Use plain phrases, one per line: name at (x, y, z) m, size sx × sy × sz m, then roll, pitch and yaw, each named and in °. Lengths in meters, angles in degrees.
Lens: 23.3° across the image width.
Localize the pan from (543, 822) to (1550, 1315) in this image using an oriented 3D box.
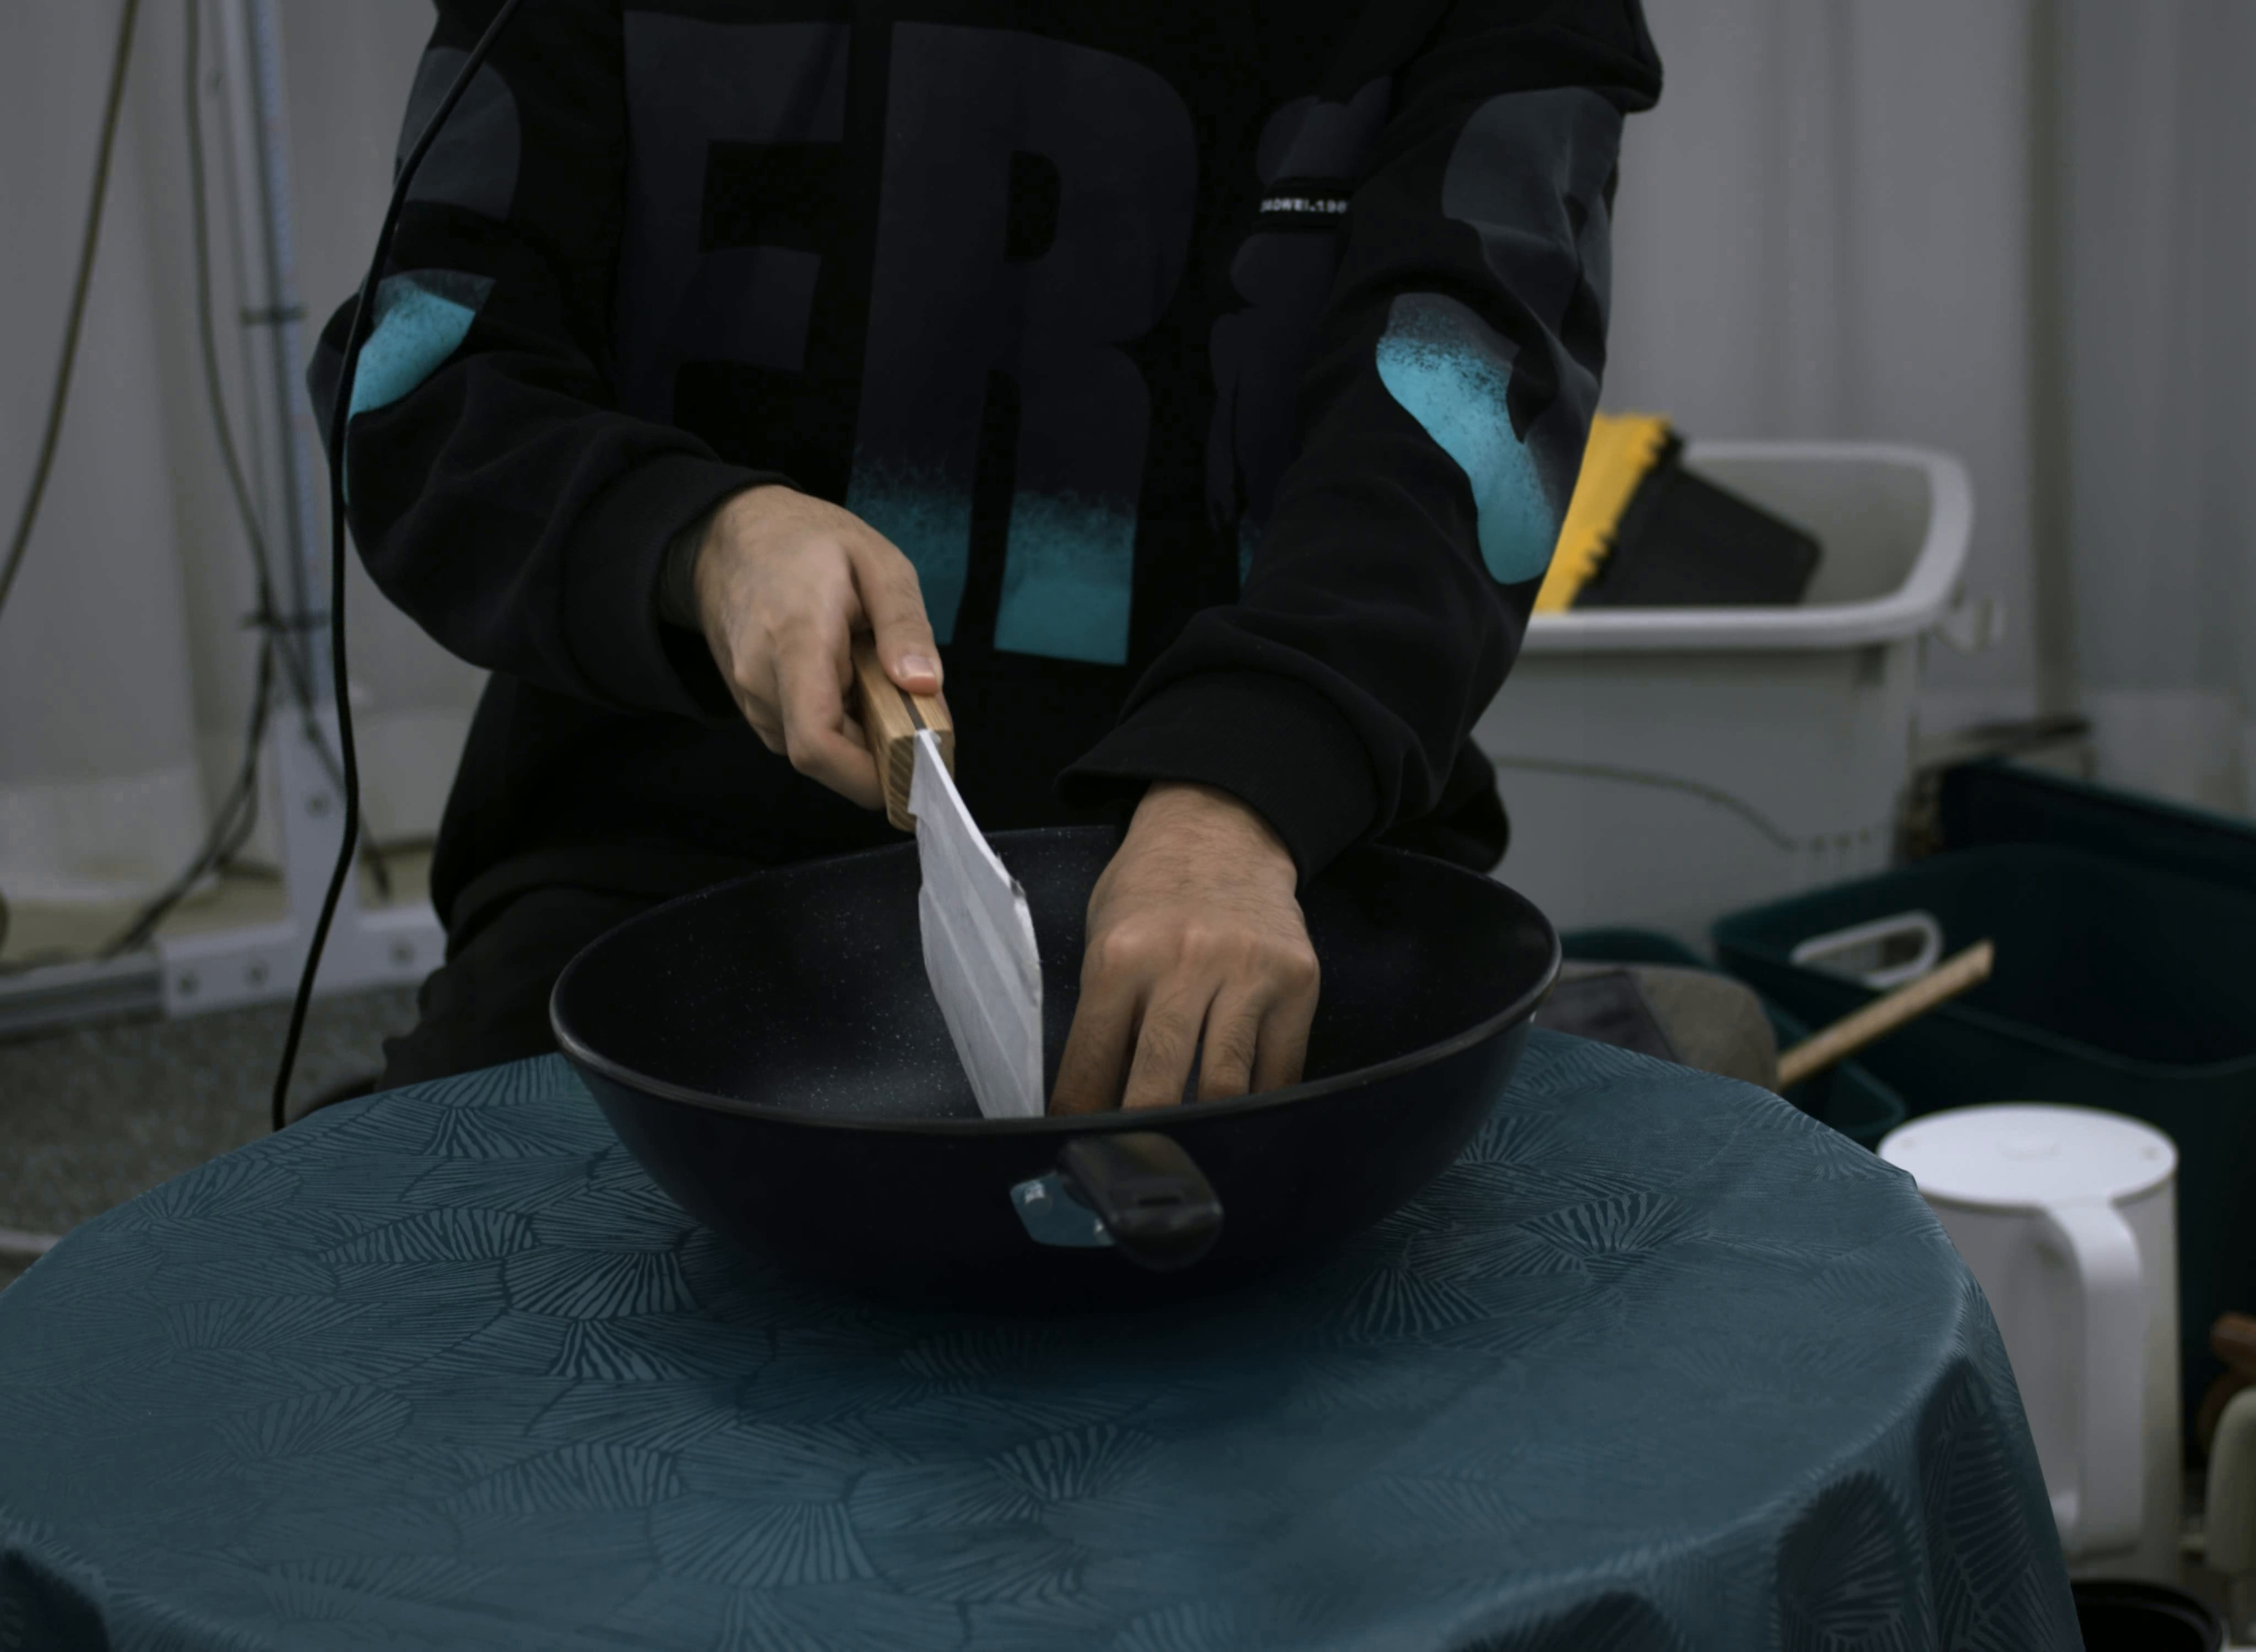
pan at (-0.014, 0.092, 1.601) m, size 0.309 × 0.111 × 0.480 m, roll -6°, pitch 15°, yaw -5°

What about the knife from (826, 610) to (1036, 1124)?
knife at (-0.058, 0.008, 1.697) m, size 0.021 × 0.113 × 0.319 m, roll -5°, pitch 27°, yaw -11°
